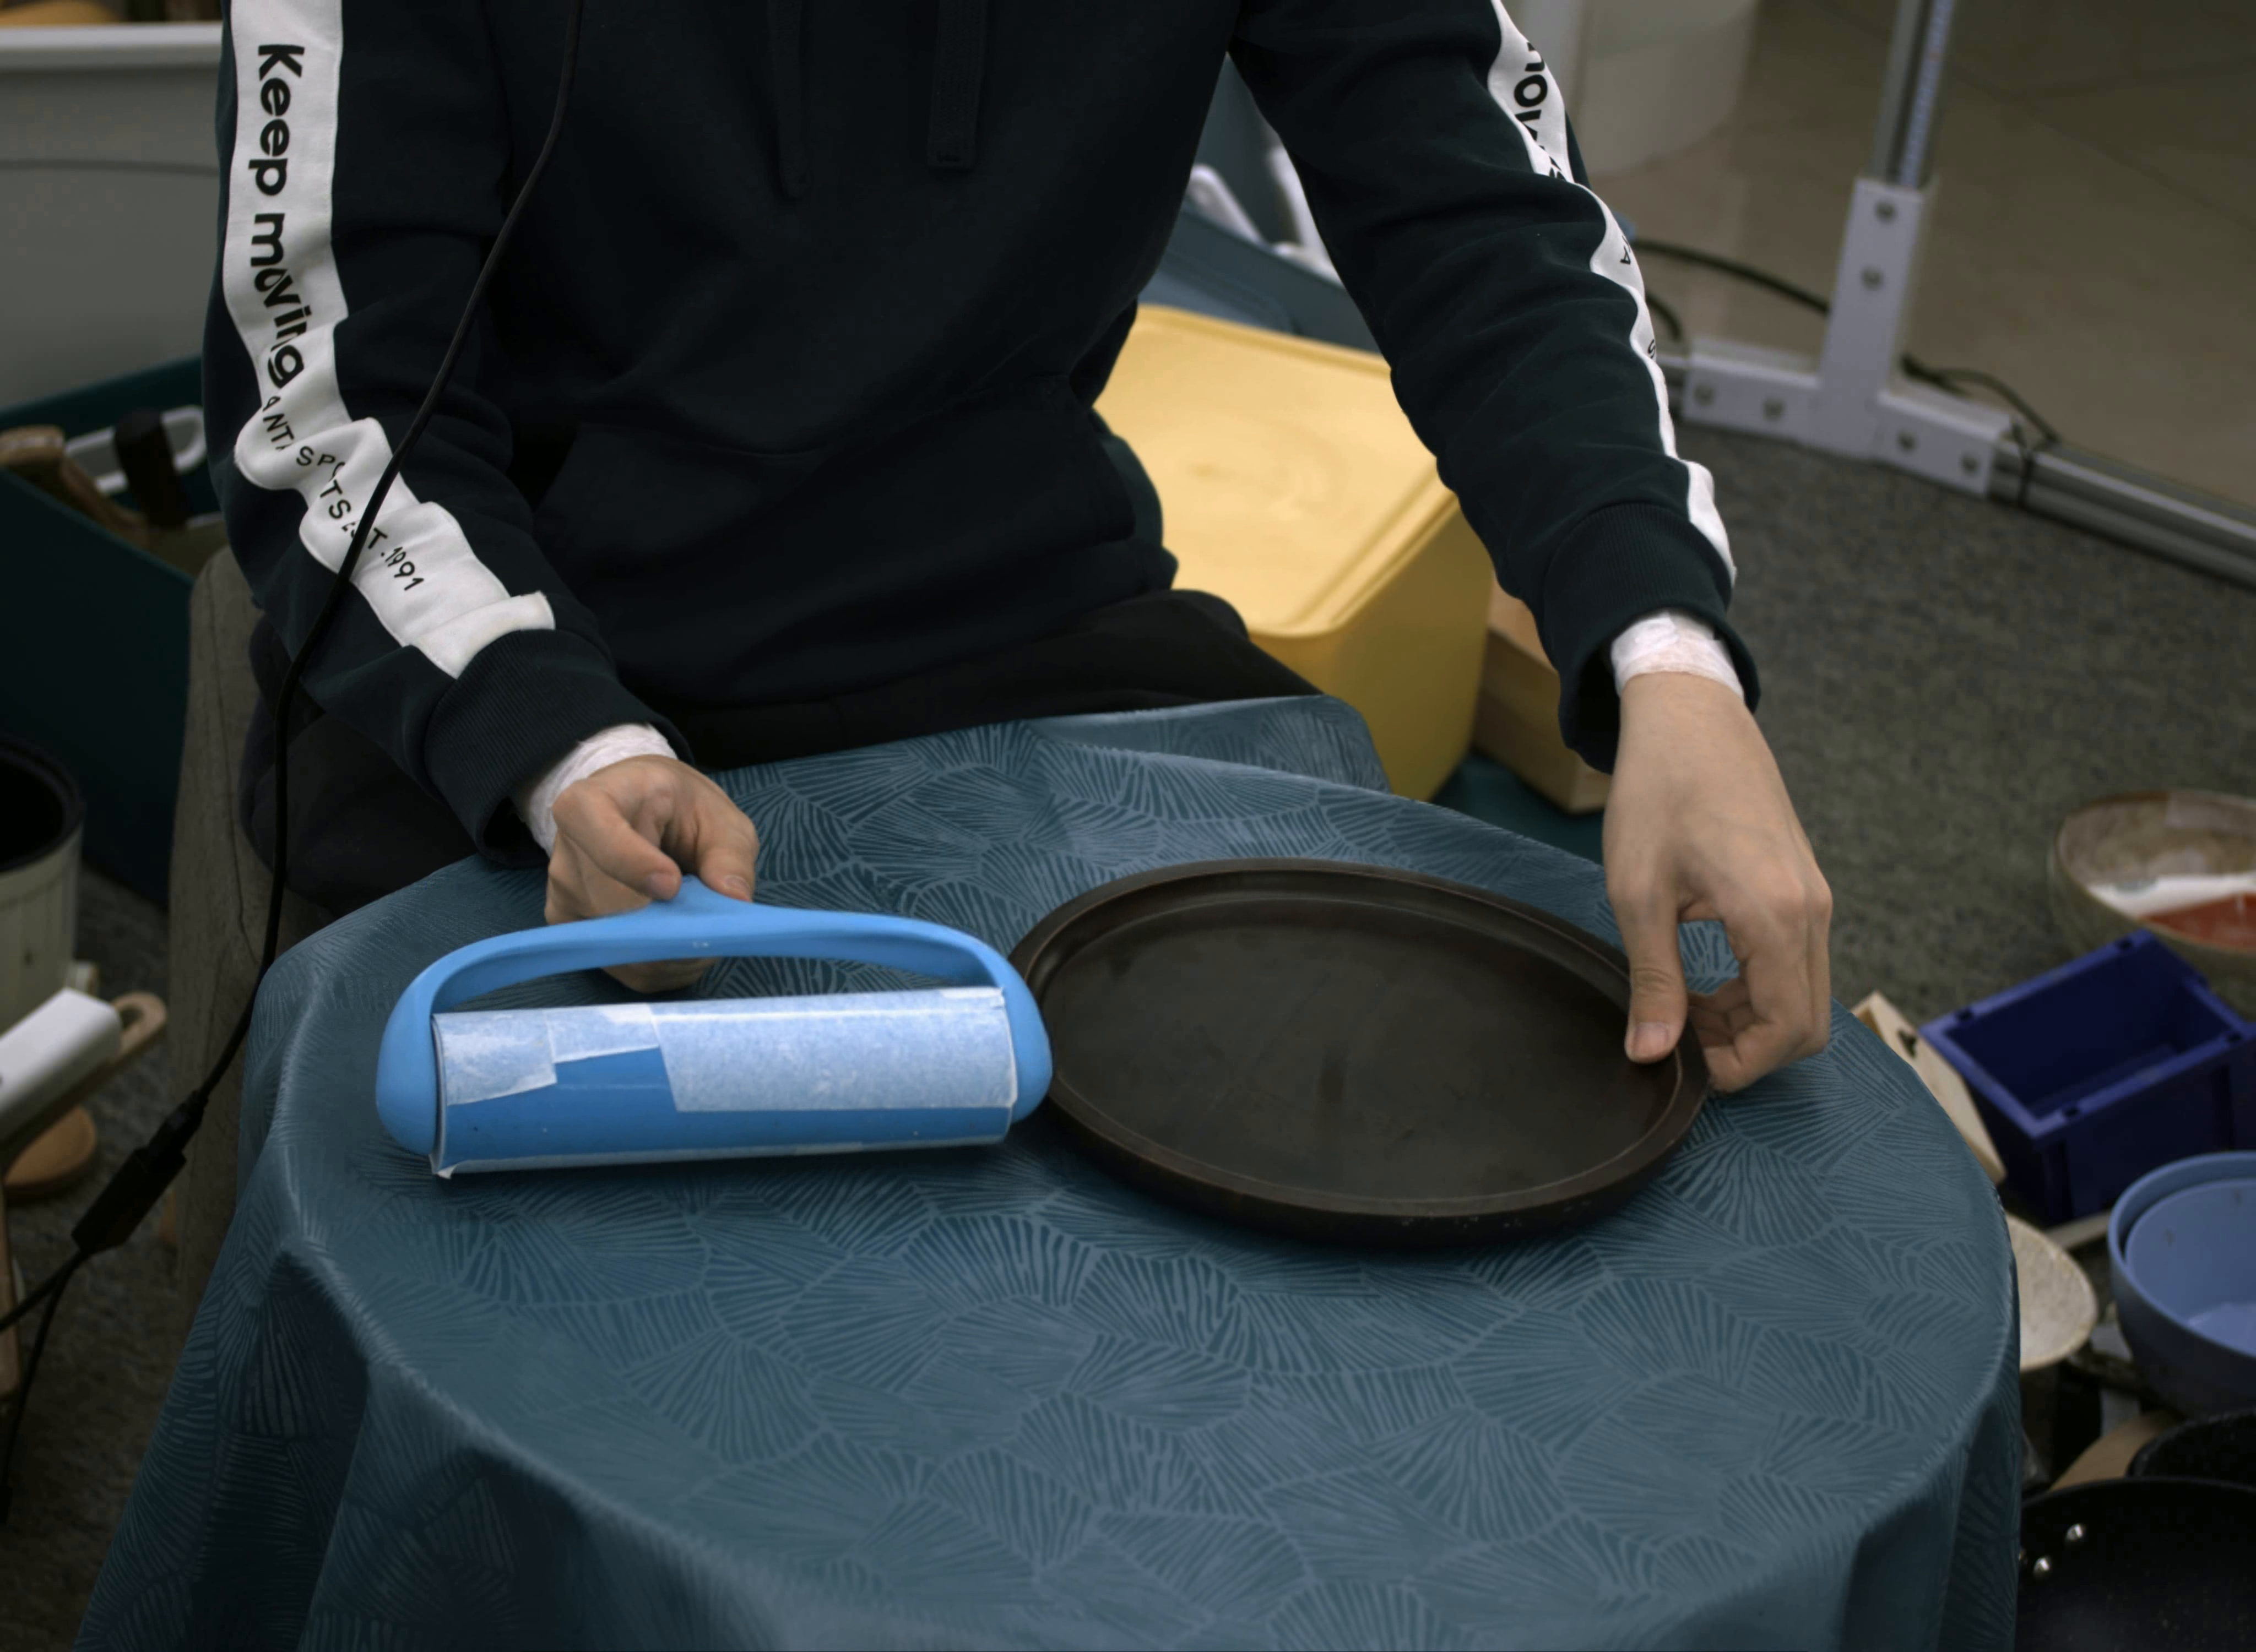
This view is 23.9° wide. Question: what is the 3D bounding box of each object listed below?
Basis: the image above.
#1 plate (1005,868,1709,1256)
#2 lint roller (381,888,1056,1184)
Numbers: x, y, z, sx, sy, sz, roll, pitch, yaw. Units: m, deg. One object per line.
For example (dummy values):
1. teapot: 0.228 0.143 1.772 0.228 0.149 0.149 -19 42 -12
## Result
1. plate: 0.078 0.080 1.875 0.254 0.029 0.256 5 28 -3
2. lint roller: -0.152 0.056 1.827 0.227 0.067 0.182 -5 31 -15
